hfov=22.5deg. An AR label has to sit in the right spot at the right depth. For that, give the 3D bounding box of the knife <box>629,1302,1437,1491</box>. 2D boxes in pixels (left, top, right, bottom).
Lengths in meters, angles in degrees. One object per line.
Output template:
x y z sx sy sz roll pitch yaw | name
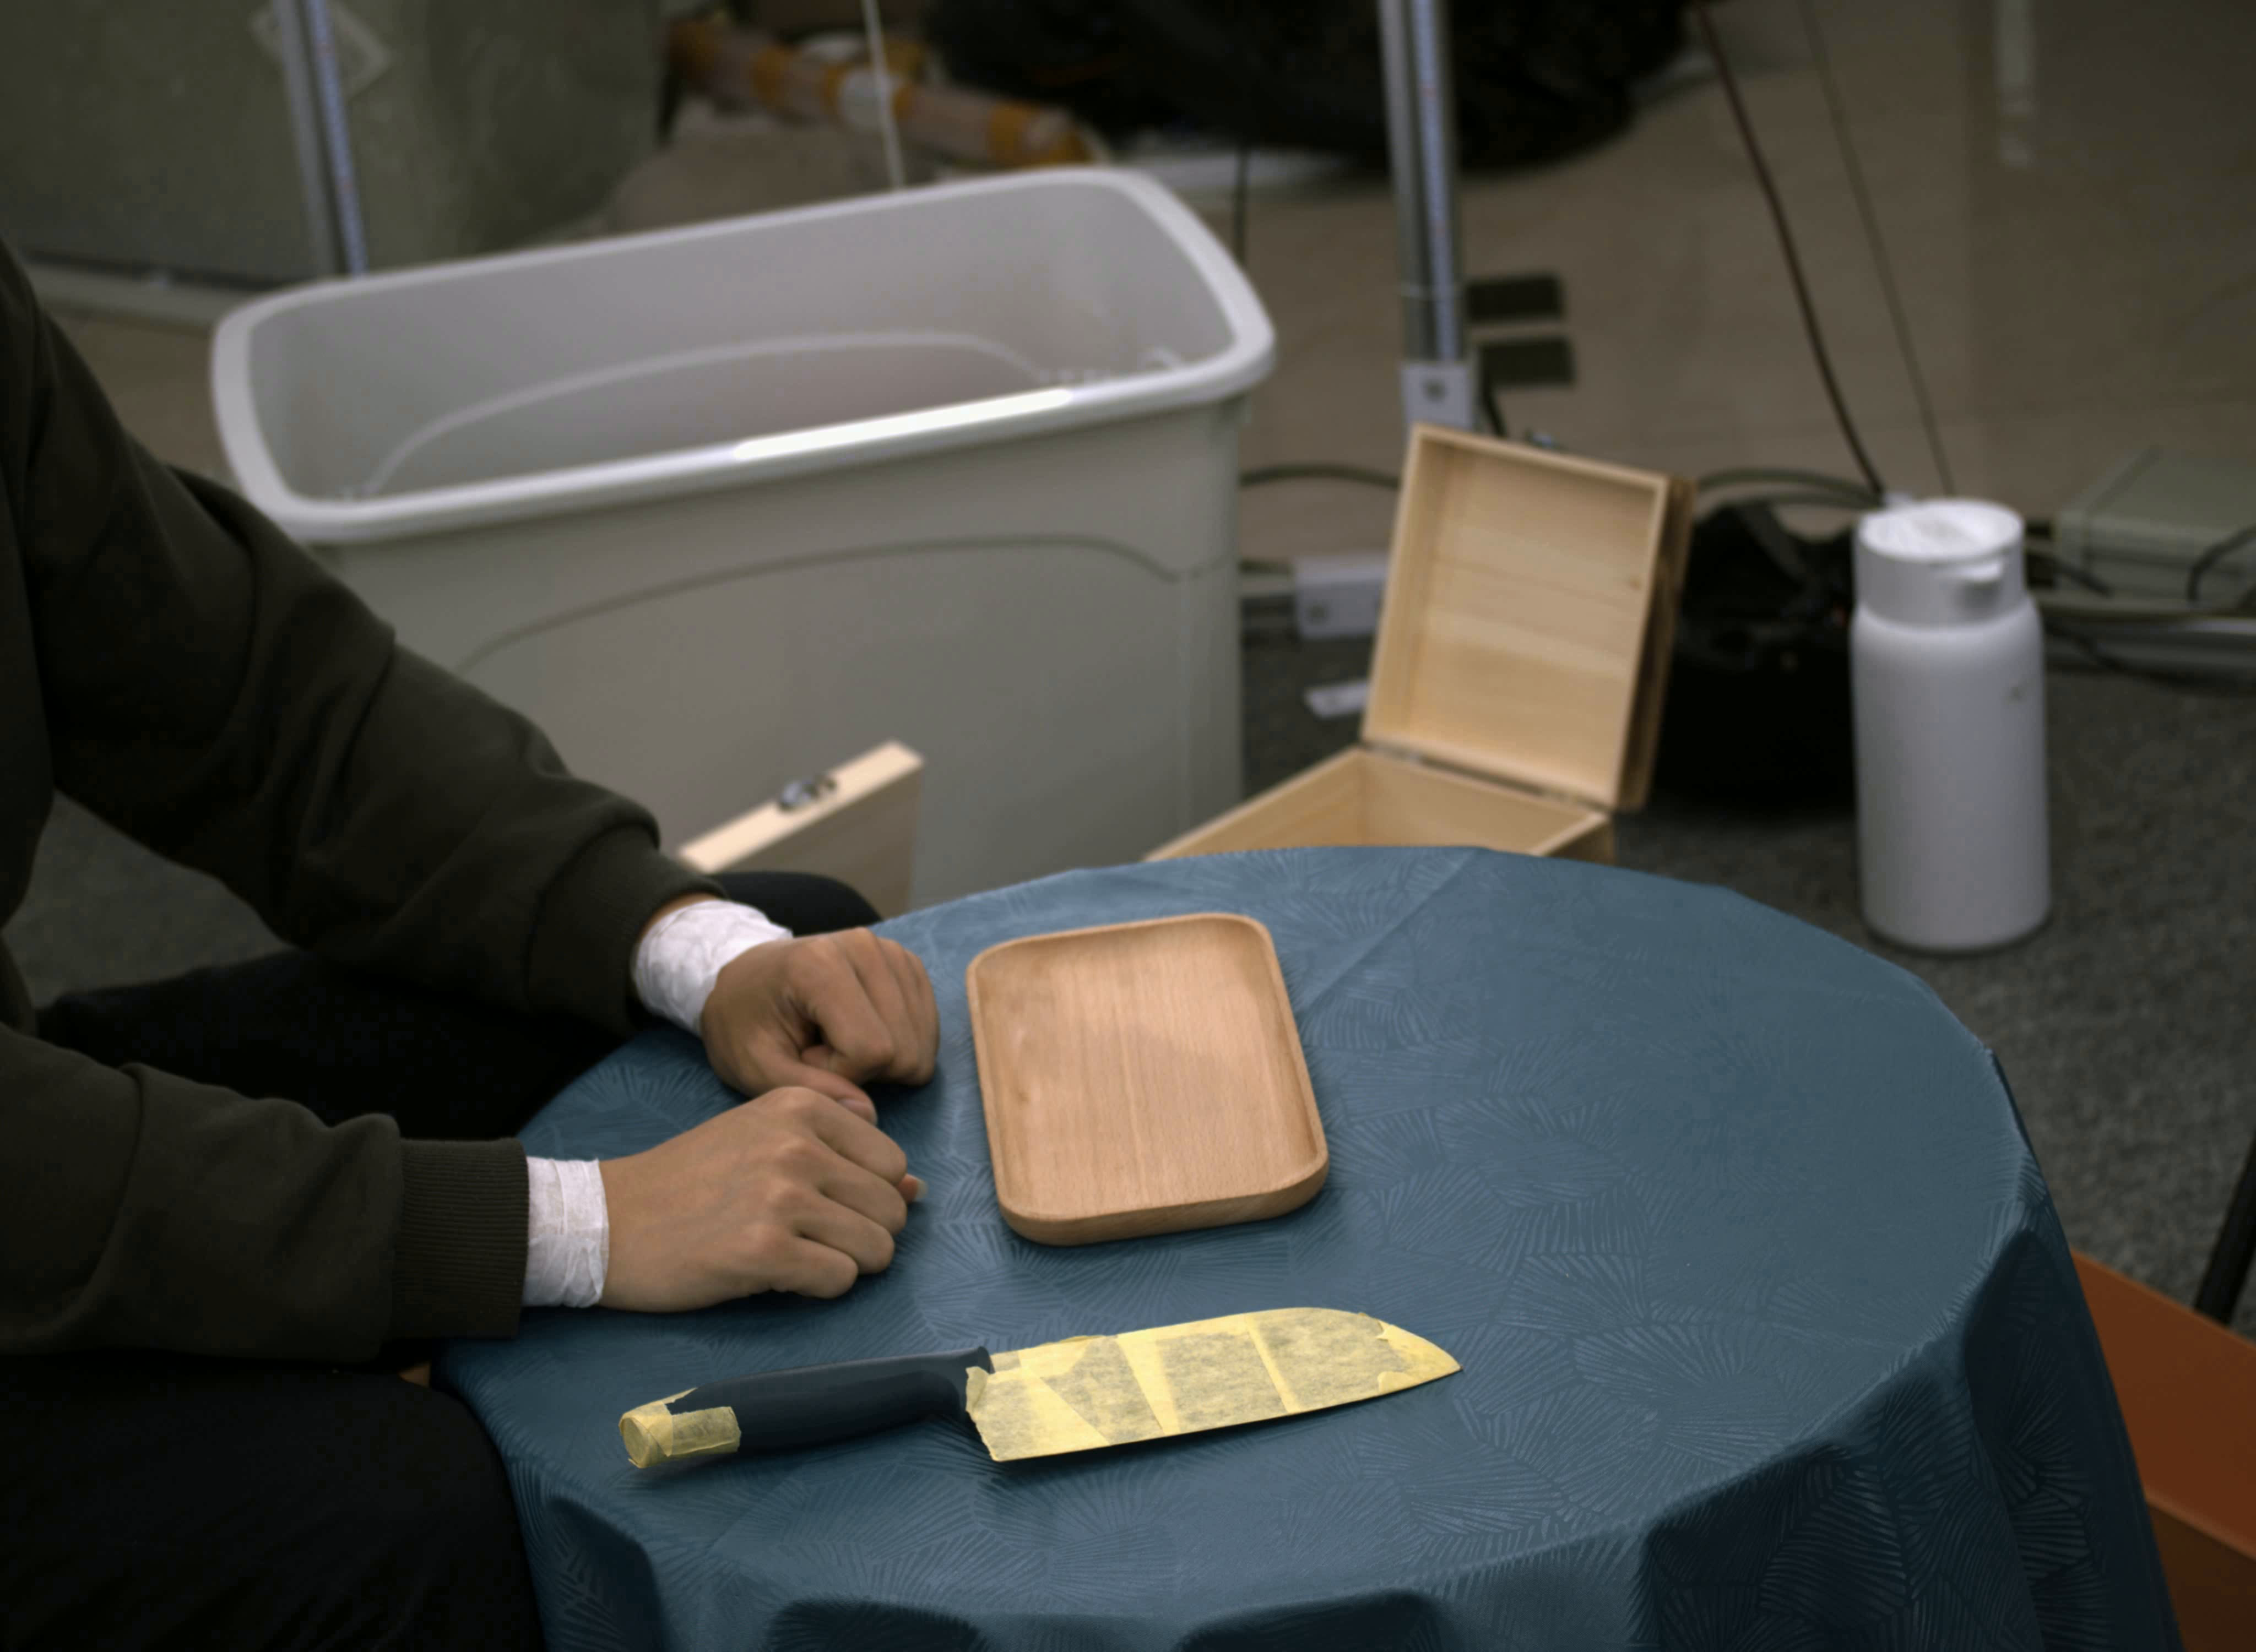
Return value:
-0.031 0.204 2.003 0.289 0.027 0.080 -9 23 -7 | knife

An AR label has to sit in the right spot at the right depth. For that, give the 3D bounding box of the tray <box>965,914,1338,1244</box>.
0.007 0.097 2.221 0.130 0.023 0.247 -10 25 -1 | tray
